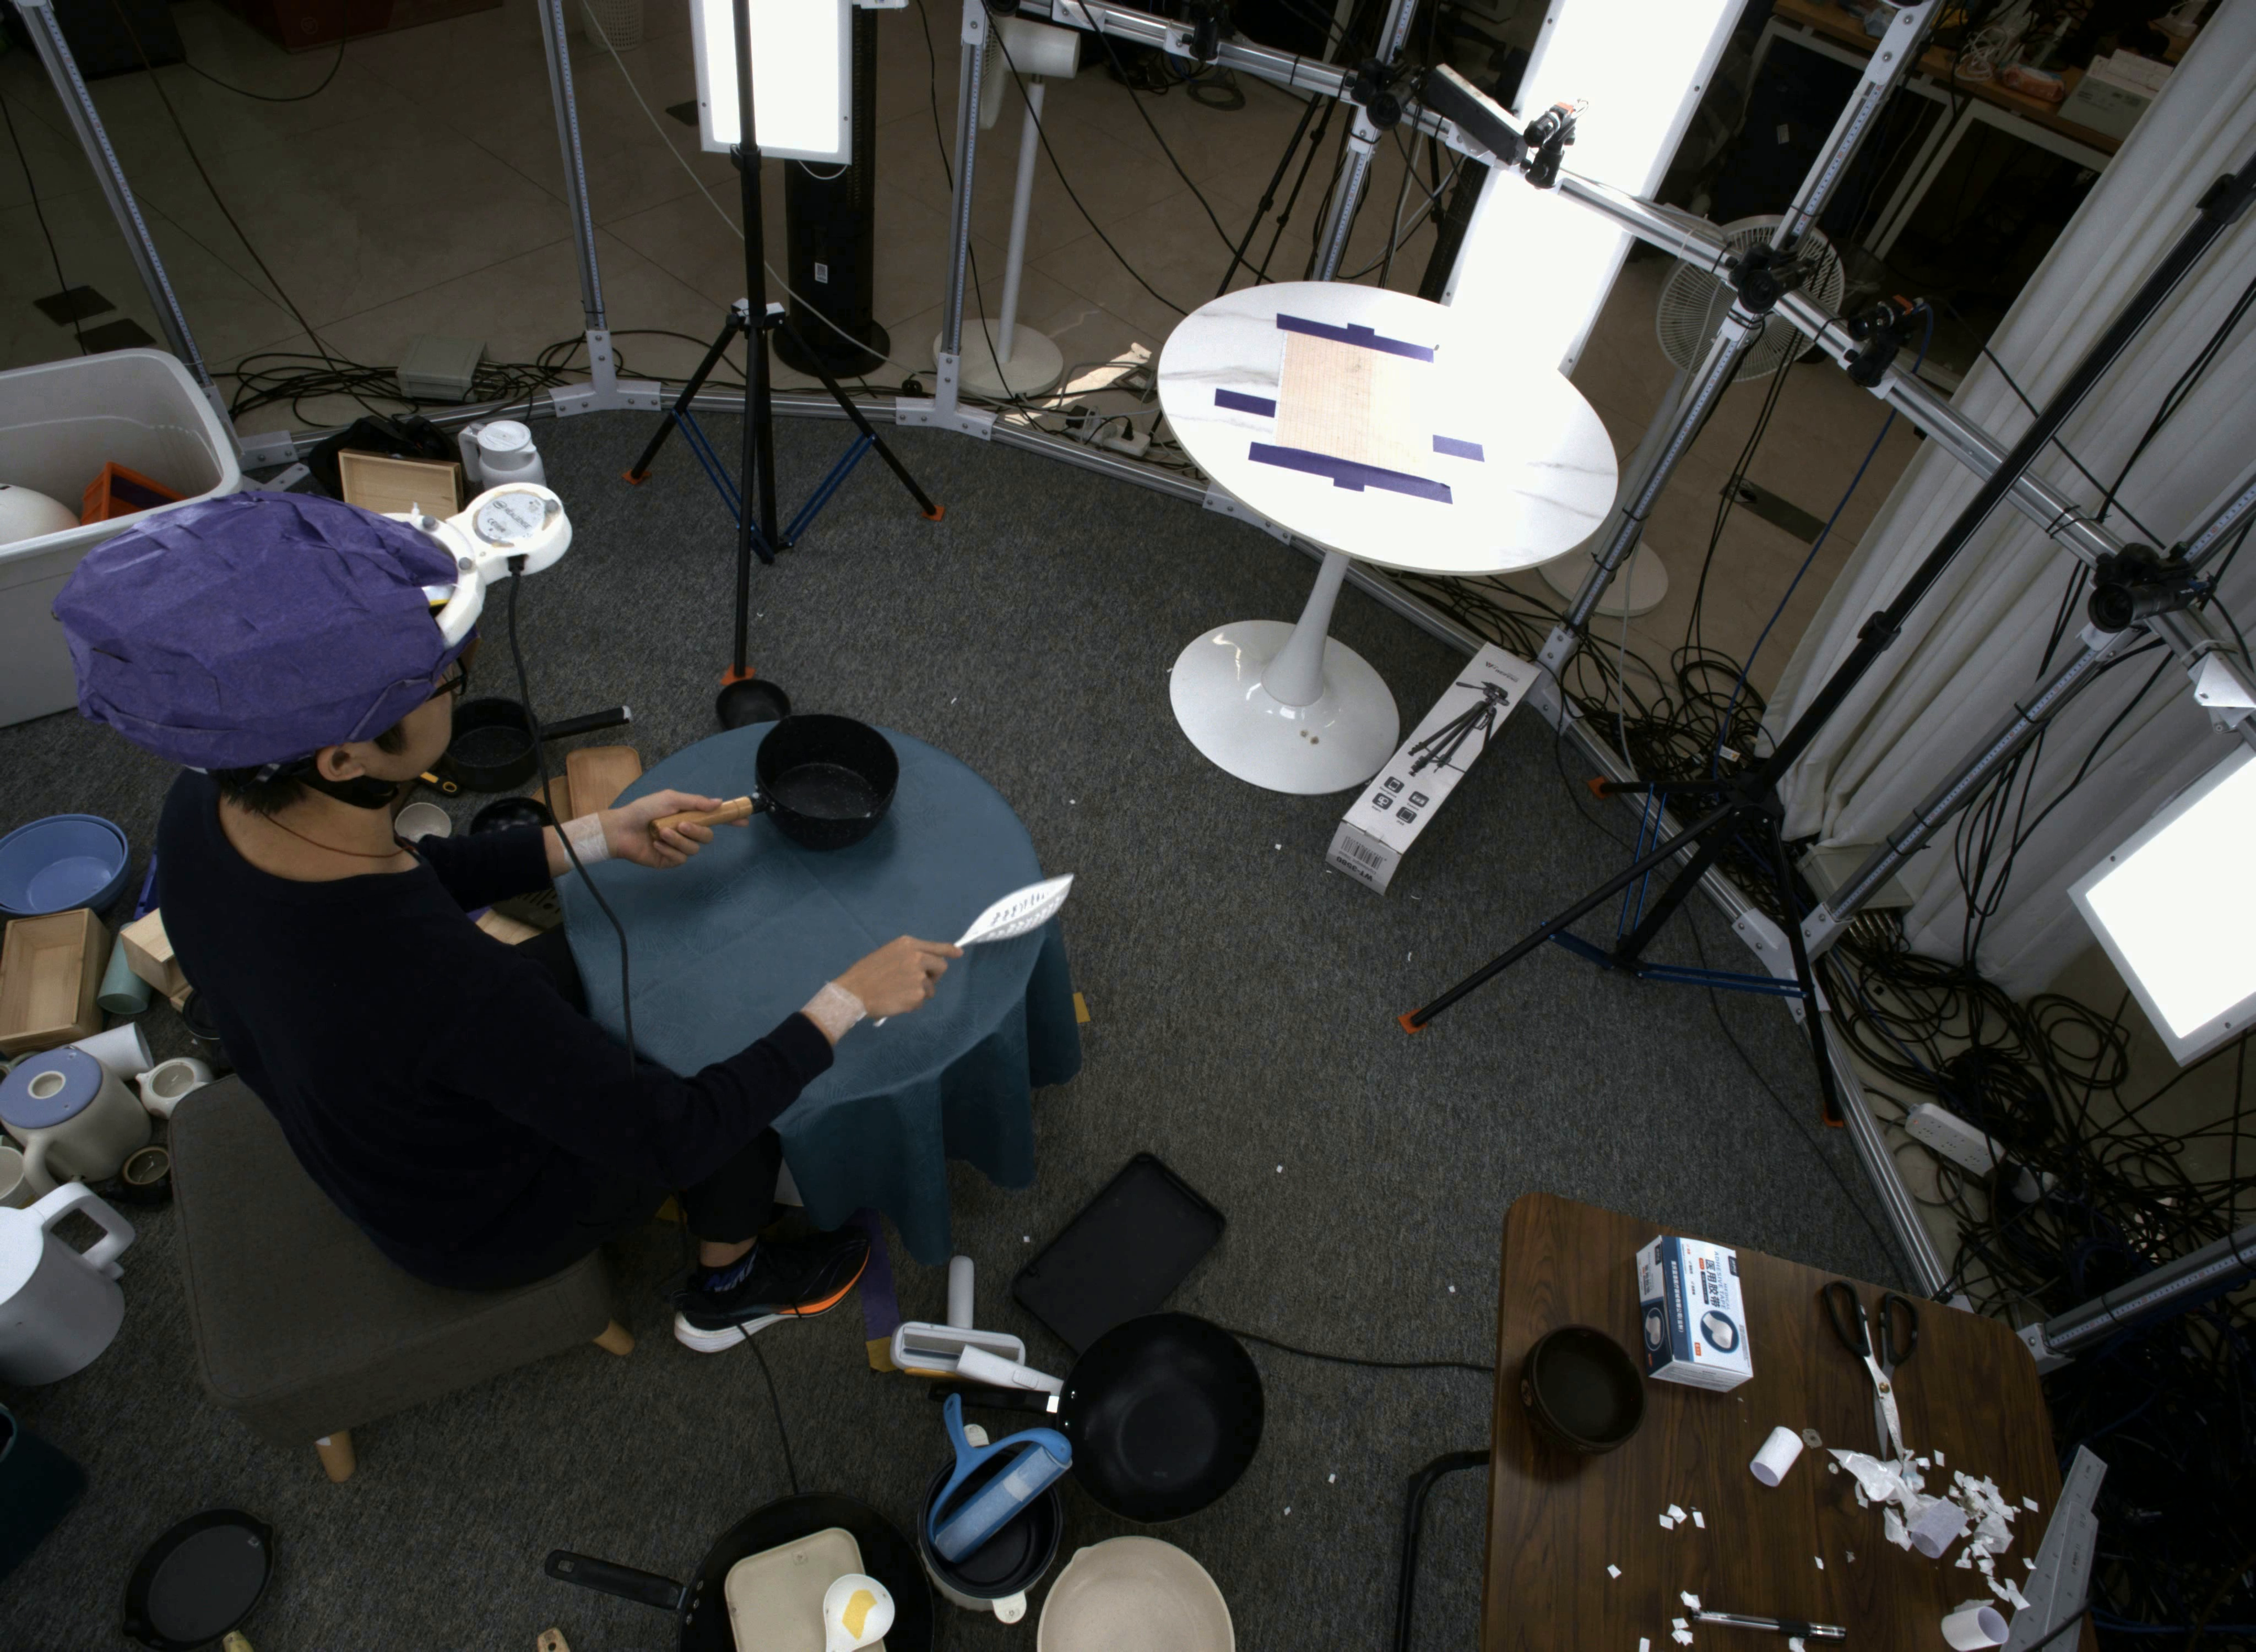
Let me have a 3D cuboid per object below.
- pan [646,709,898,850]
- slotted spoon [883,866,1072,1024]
[{"bbox_3d":[-0.453,-0.032,1.644,0.345,0.110,0.203,-29,66,-38],"label":"pan"},{"bbox_3d":[-0.186,0.136,1.565,0.350,0.133,0.051,-31,101,-50],"label":"slotted spoon"}]
